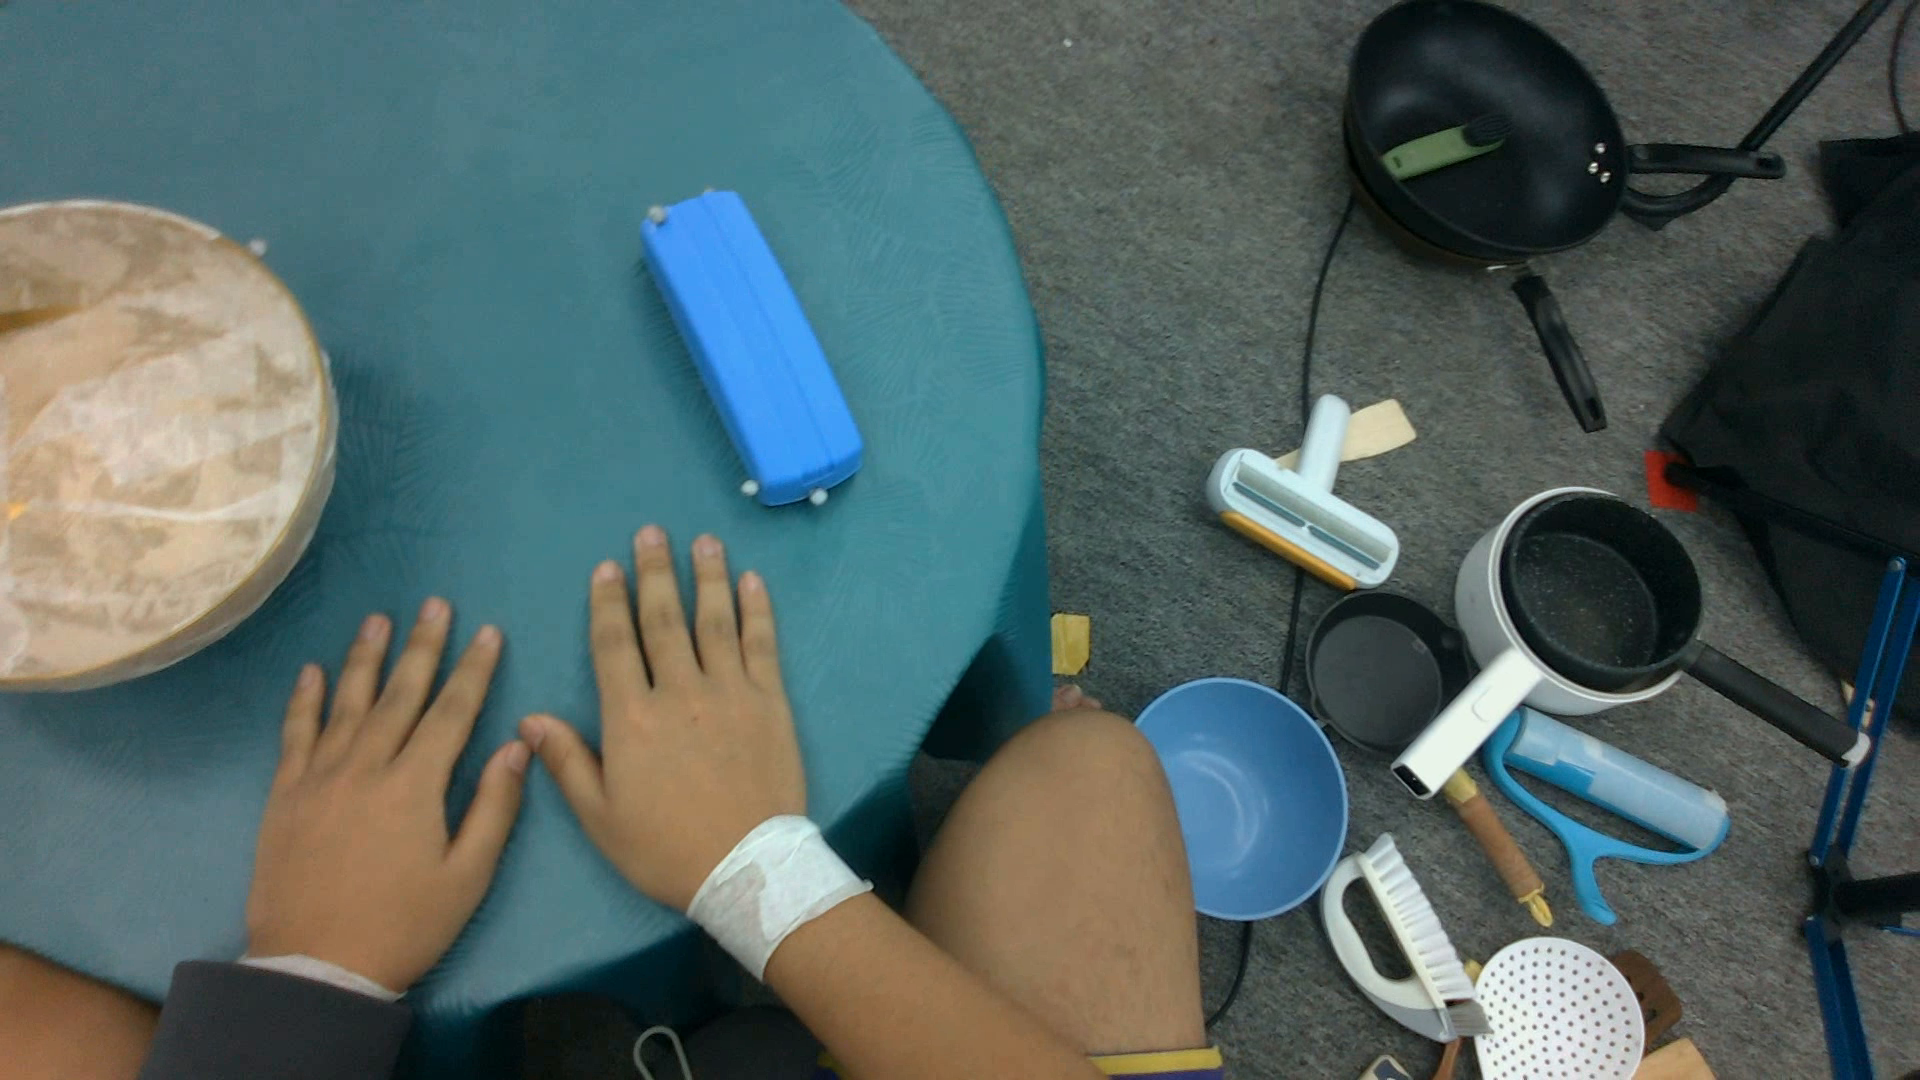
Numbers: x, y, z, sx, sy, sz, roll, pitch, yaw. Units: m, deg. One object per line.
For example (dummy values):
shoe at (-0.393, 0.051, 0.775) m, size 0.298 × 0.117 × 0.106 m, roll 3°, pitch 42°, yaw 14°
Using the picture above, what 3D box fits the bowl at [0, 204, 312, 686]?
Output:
bowl at (-0.372, -0.027, 0.576) m, size 0.215 × 0.094 × 0.215 m, roll 4°, pitch 69°, yaw -10°

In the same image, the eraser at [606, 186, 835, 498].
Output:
eraser at (-0.118, -0.102, 0.674) m, size 0.054 × 0.047 × 0.162 m, roll -25°, pitch 76°, yaw -19°
